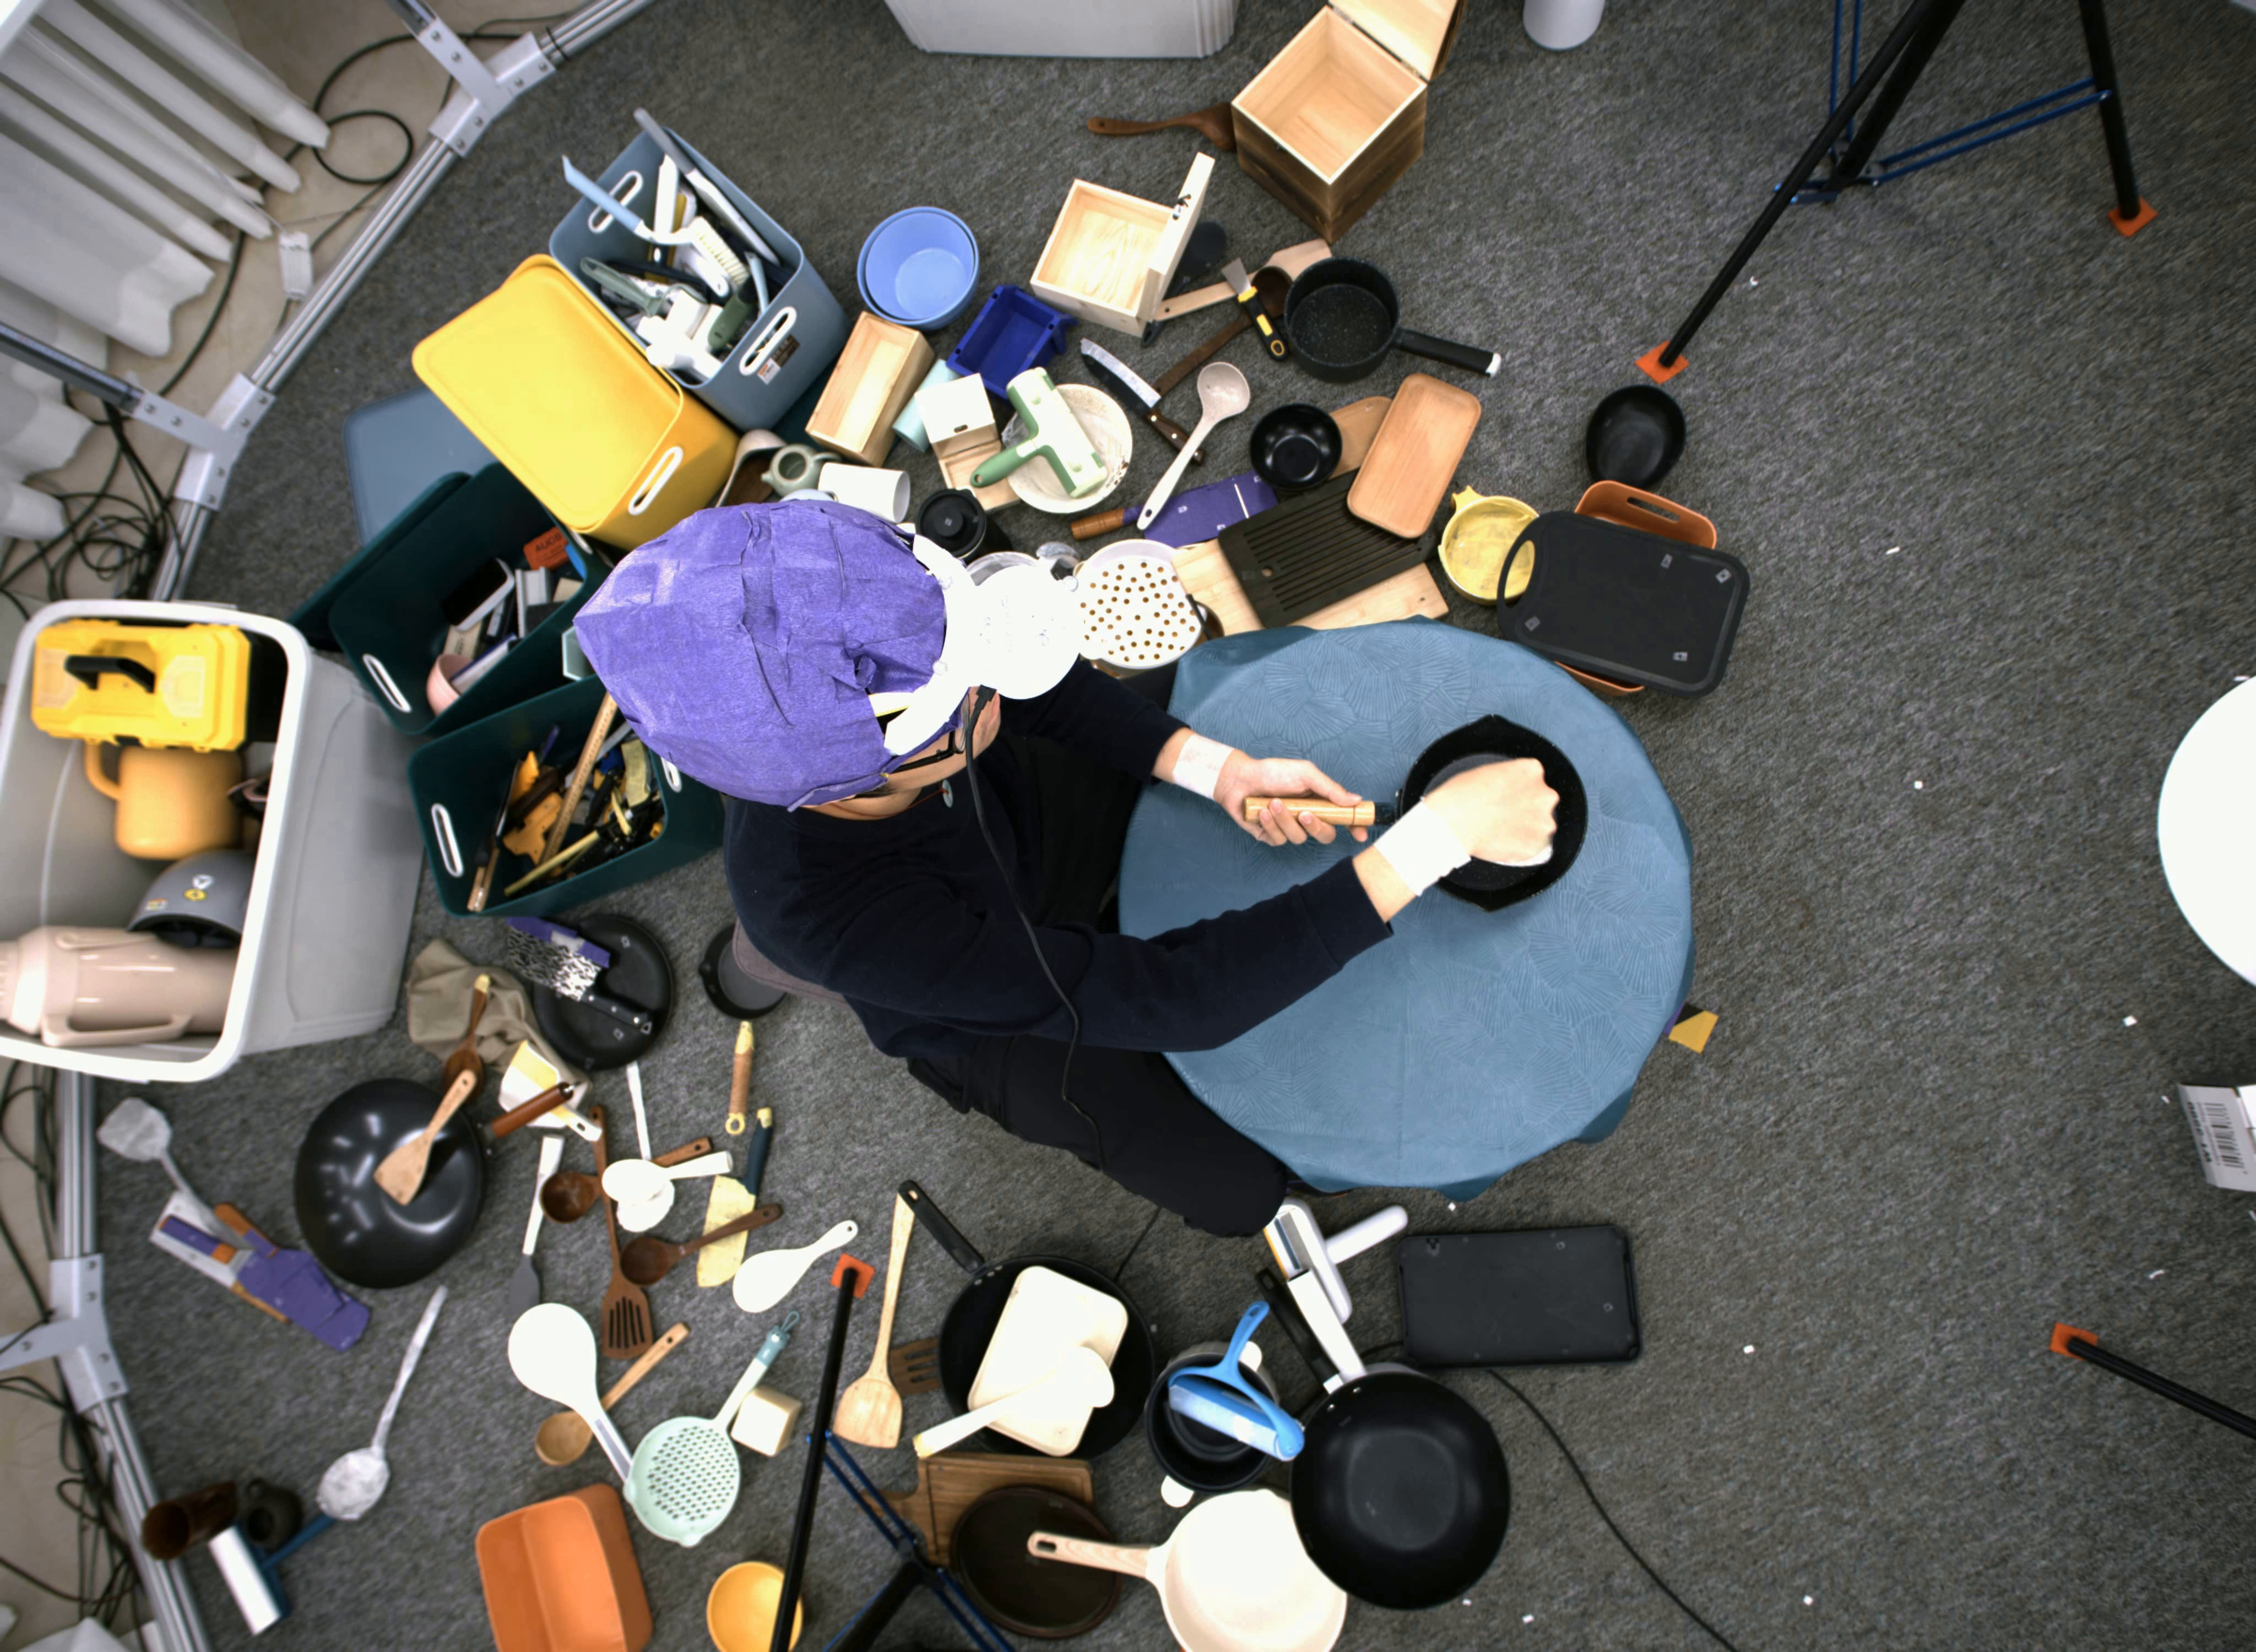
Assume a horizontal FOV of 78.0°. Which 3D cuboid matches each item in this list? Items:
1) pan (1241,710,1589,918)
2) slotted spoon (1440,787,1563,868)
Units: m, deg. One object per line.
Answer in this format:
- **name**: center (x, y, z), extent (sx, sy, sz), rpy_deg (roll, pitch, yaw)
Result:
- **pan**: center (0.289, -0.011, 1.406), extent (0.344, 0.108, 0.207), rpy_deg (-1, 87, 9)
- **slotted spoon**: center (0.344, -0.004, 1.262), extent (0.136, 0.349, 0.050), rpy_deg (31, 88, 12)
